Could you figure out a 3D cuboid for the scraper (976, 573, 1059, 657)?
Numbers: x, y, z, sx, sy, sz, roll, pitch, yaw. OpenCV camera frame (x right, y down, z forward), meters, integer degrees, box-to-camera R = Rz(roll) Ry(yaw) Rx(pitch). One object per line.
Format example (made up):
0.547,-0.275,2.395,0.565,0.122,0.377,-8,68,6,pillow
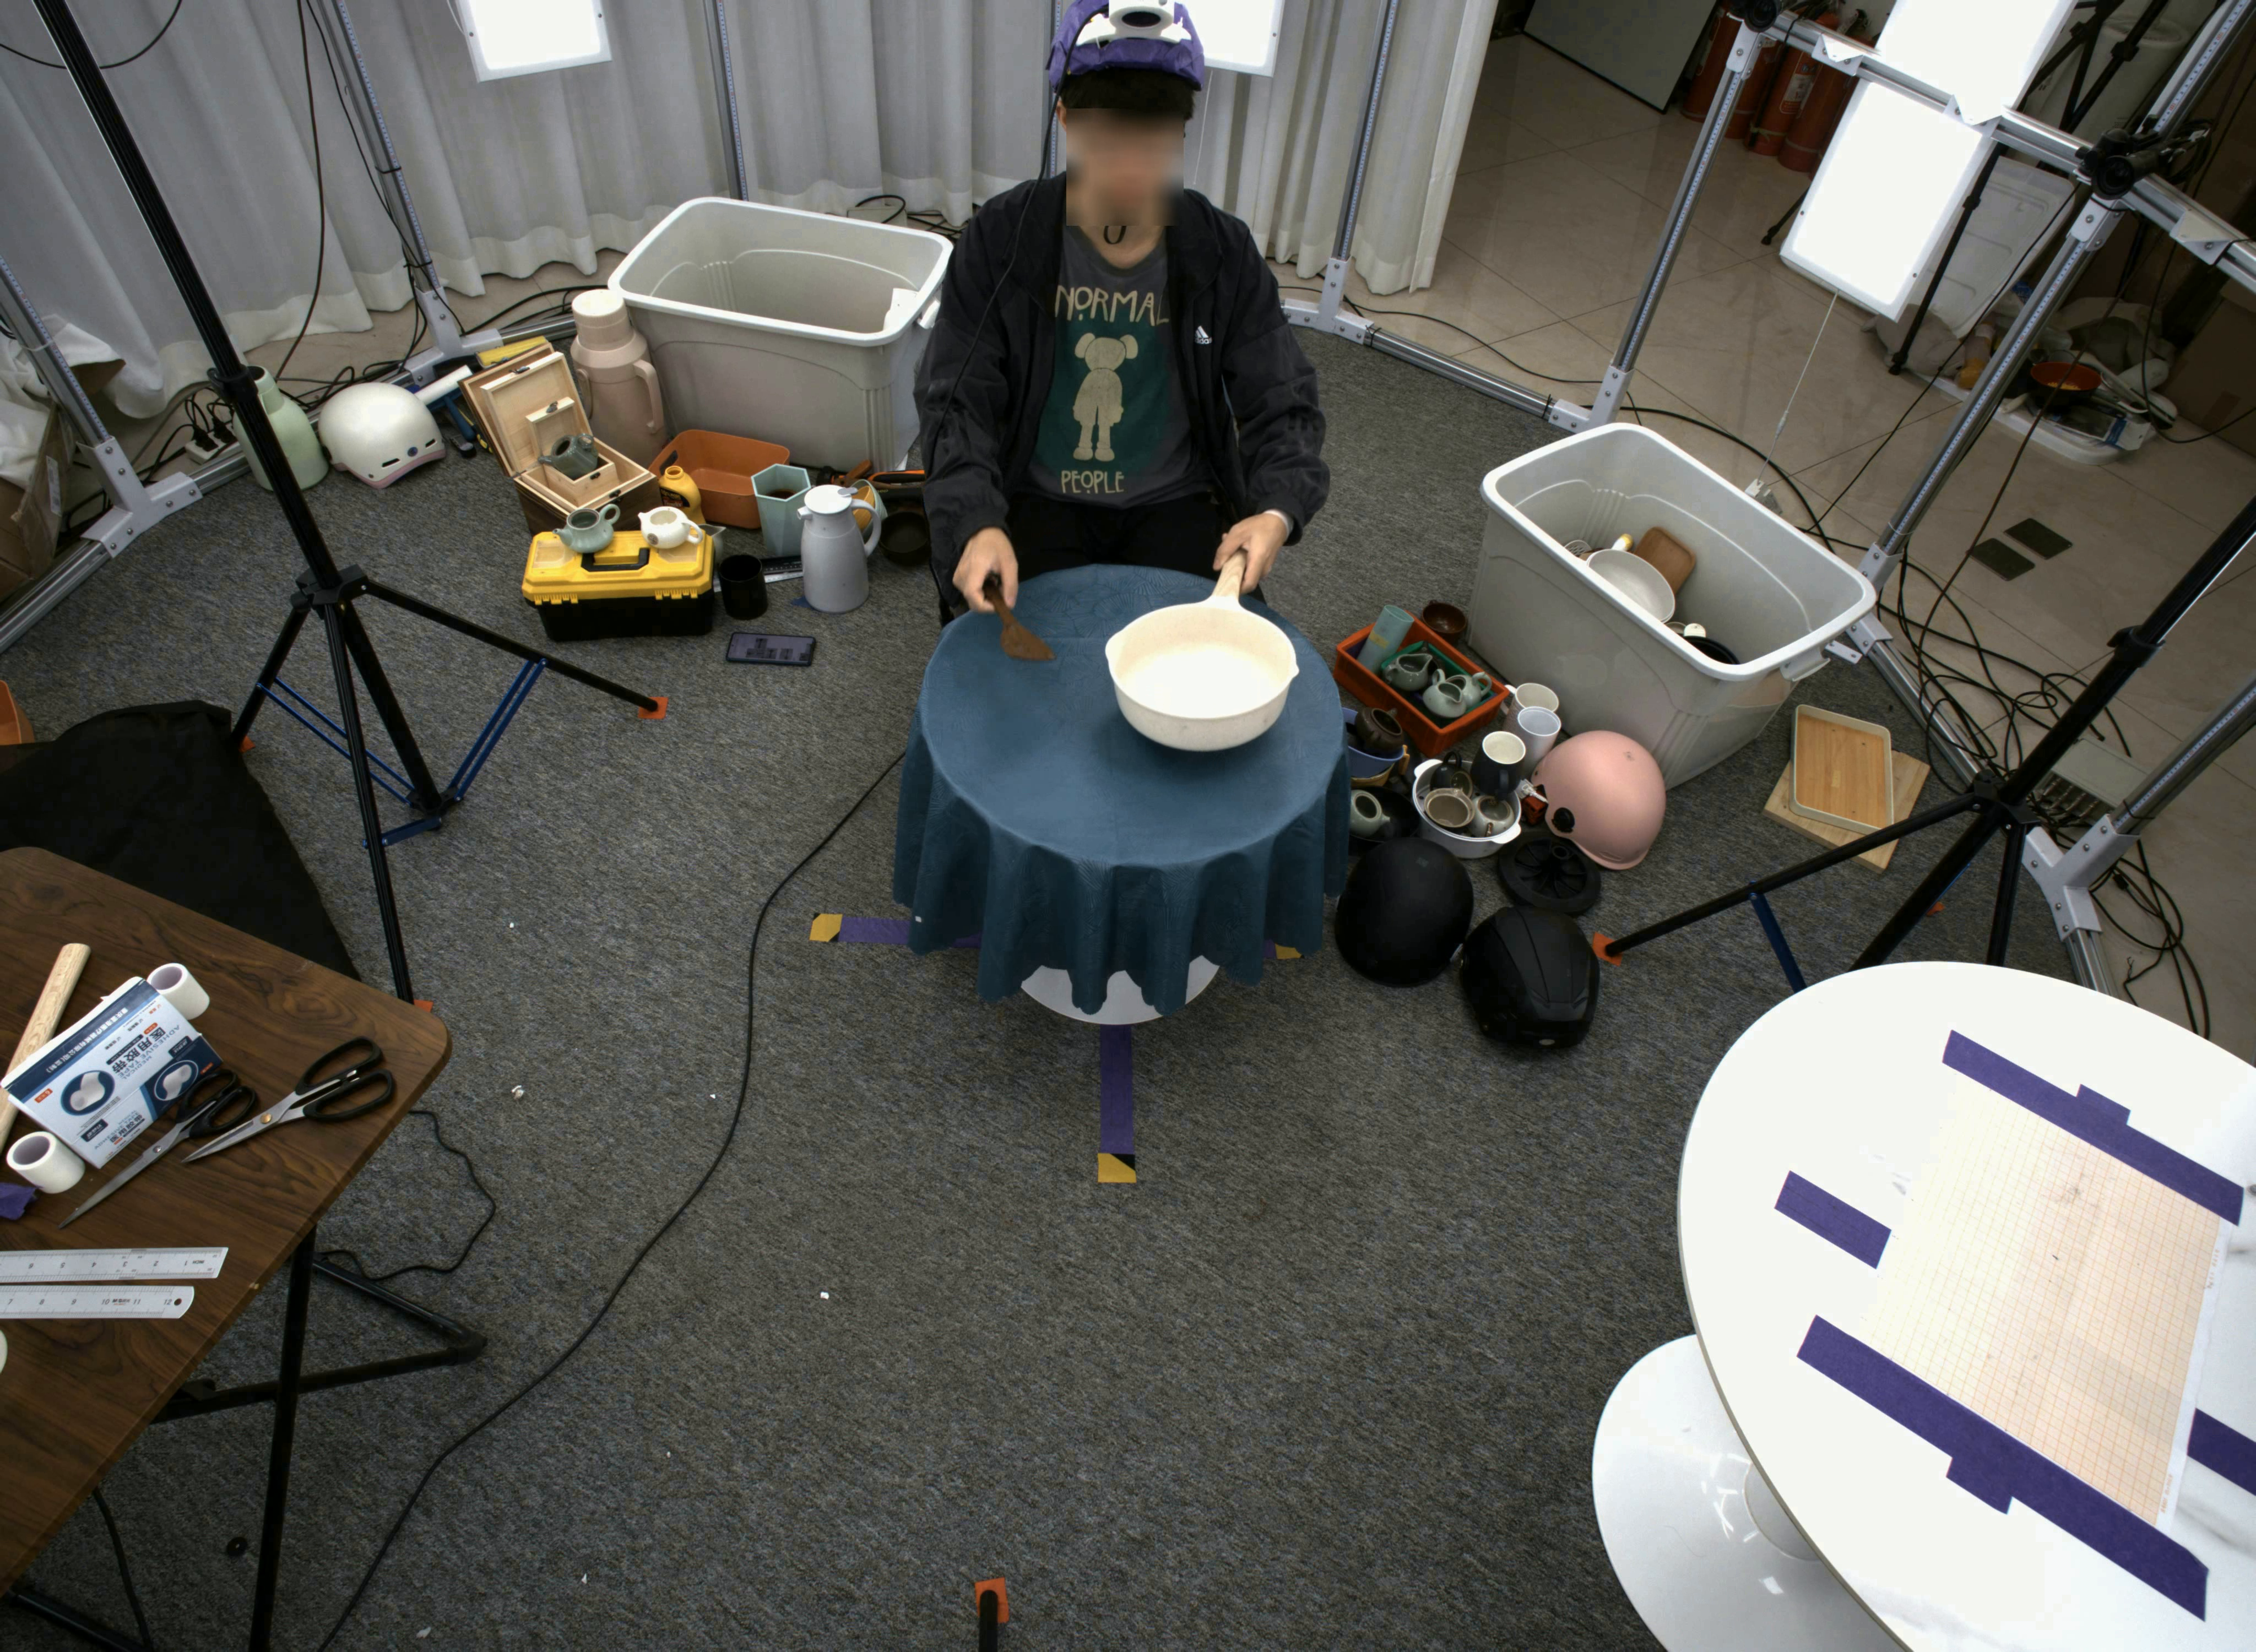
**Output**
-0.164,-0.291,1.772,0.075,0.010,0.216,-2,41,-30,scraper

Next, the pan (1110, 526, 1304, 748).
0.129,-0.267,1.806,0.264,0.099,0.444,8,43,13,pan
